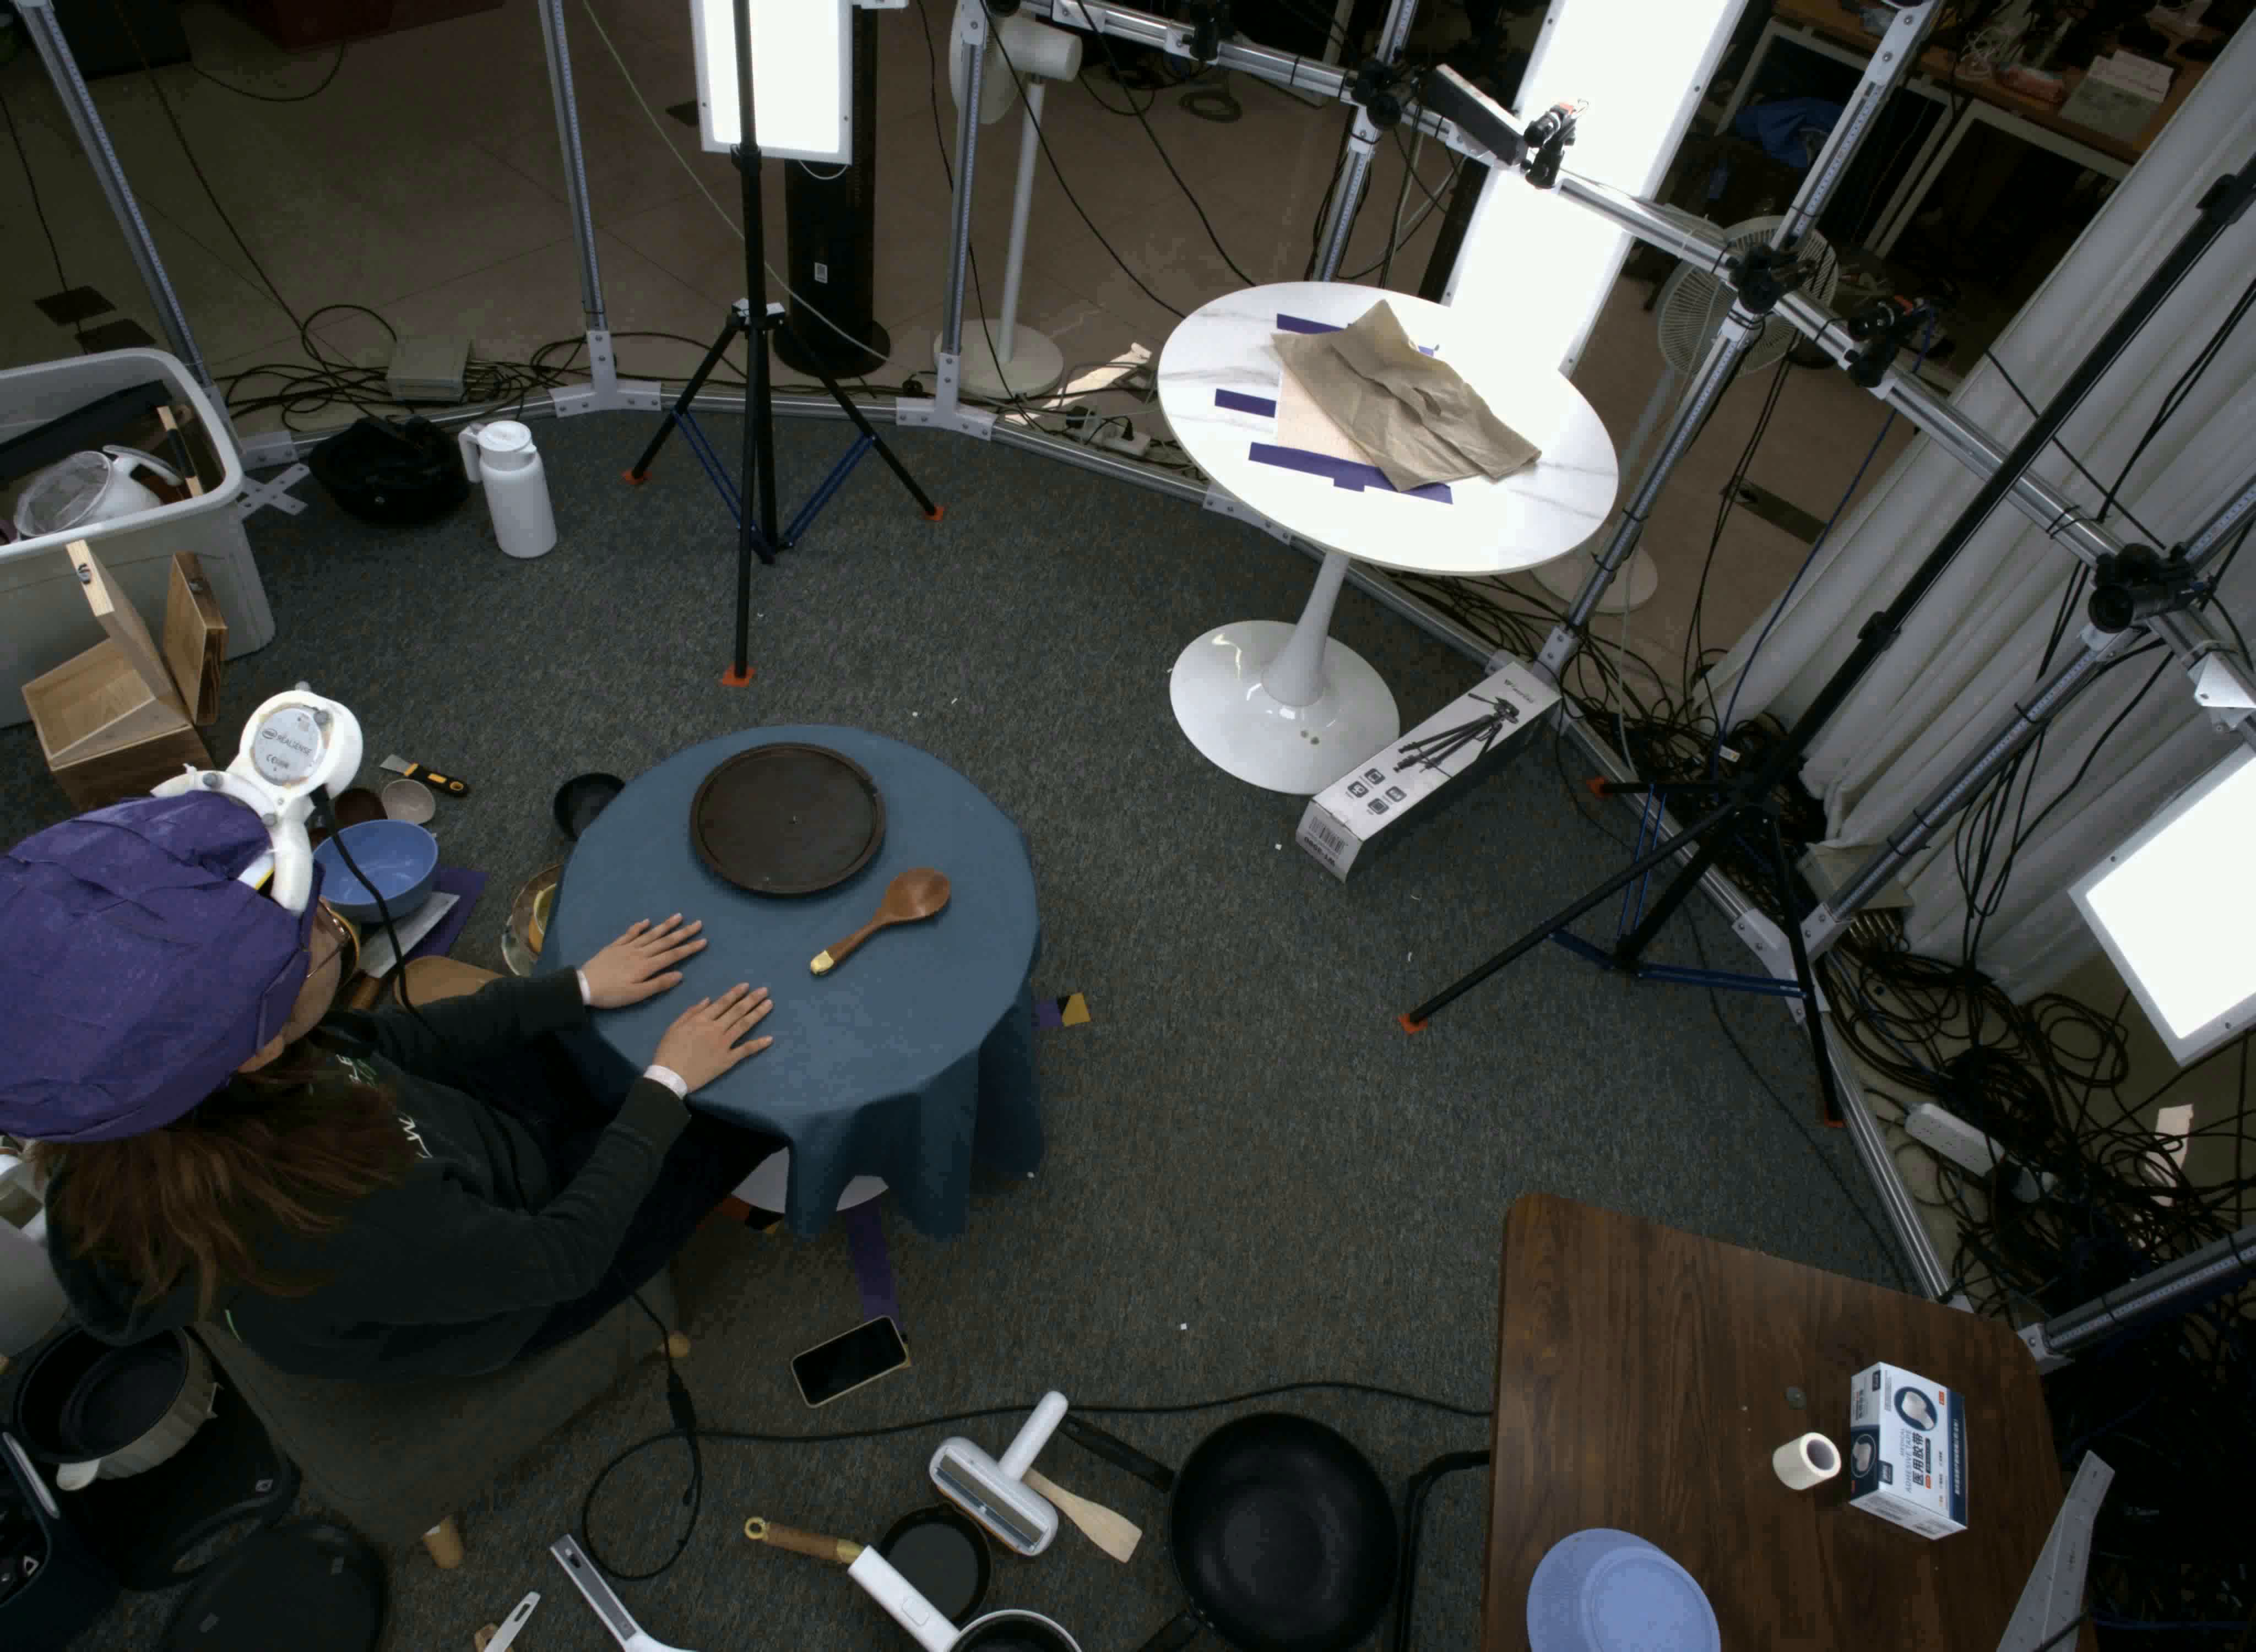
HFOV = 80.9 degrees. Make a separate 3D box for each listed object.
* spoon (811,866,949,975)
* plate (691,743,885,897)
[{"bbox_3d":[-0.316,0.120,1.656,0.074,0.017,0.216,40,55,16],"label":"spoon"},{"bbox_3d":[-0.449,-0.010,1.716,0.254,0.029,0.250,8,51,-8],"label":"plate"}]
